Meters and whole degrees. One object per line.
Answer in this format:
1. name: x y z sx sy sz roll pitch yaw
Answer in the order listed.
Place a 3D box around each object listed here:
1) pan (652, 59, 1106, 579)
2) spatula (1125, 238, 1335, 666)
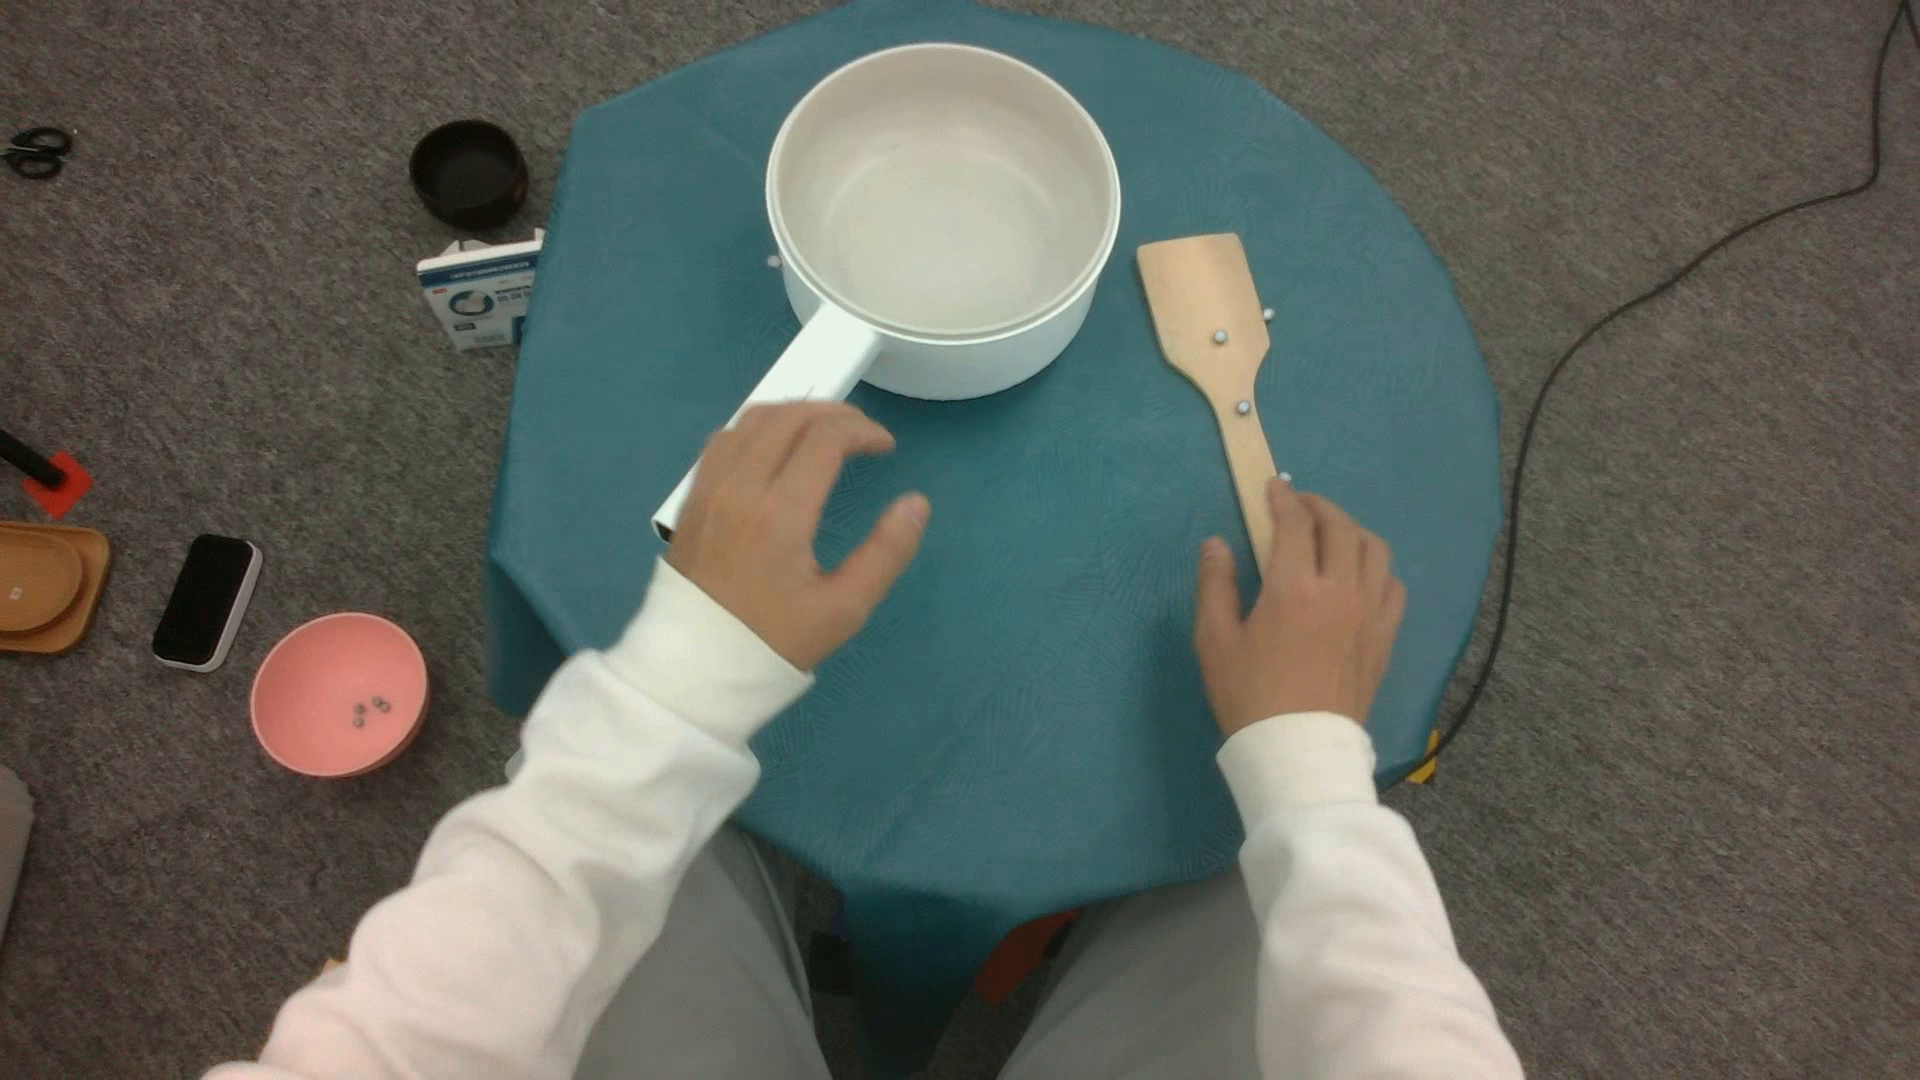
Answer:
1. pan: -0.055 -0.119 0.808 0.201 0.102 0.356 28 69 9
2. spatula: 0.173 -0.060 0.843 0.072 0.010 0.294 -11 68 -8
